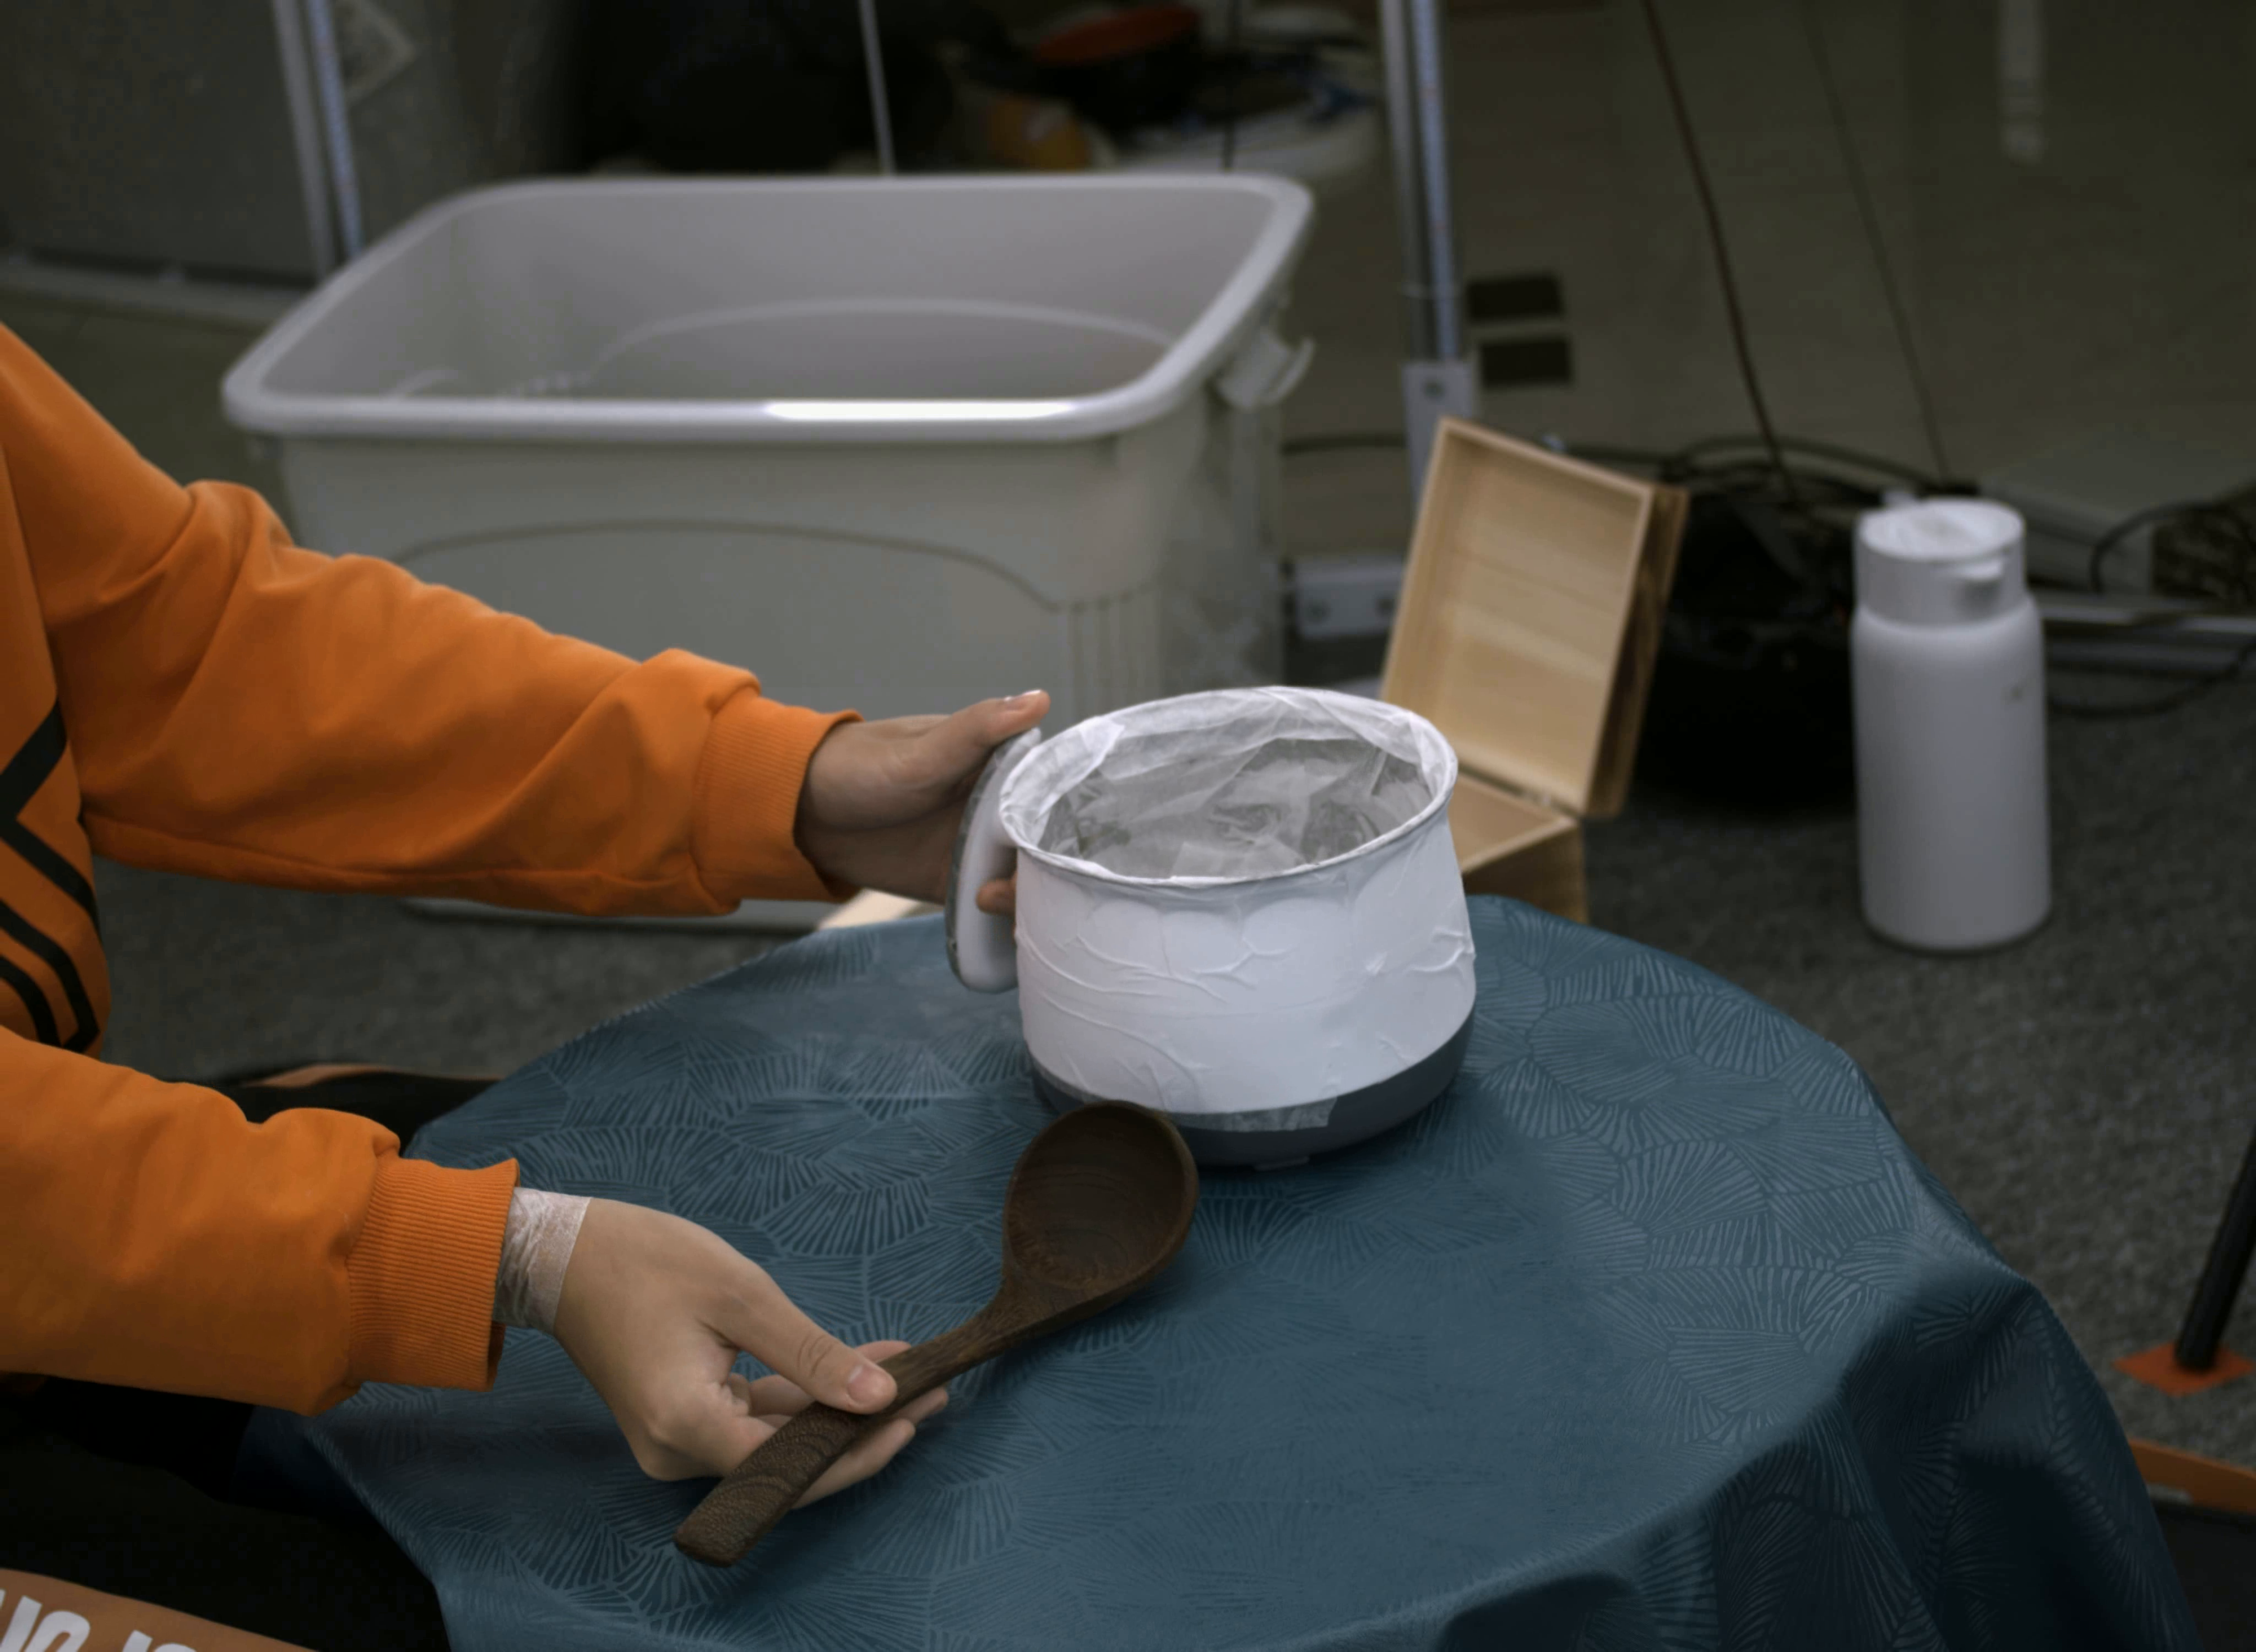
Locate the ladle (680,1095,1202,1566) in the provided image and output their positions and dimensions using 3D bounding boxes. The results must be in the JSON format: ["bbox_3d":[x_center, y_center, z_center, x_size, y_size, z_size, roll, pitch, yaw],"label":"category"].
[{"bbox_3d":[-0.067,0.172,1.994,0.075,0.072,0.271,15,27,31],"label":"ladle"}]

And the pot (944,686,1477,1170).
[{"bbox_3d":[0.022,0.035,2.198,0.232,0.139,0.177,13,31,35],"label":"pot"}]
